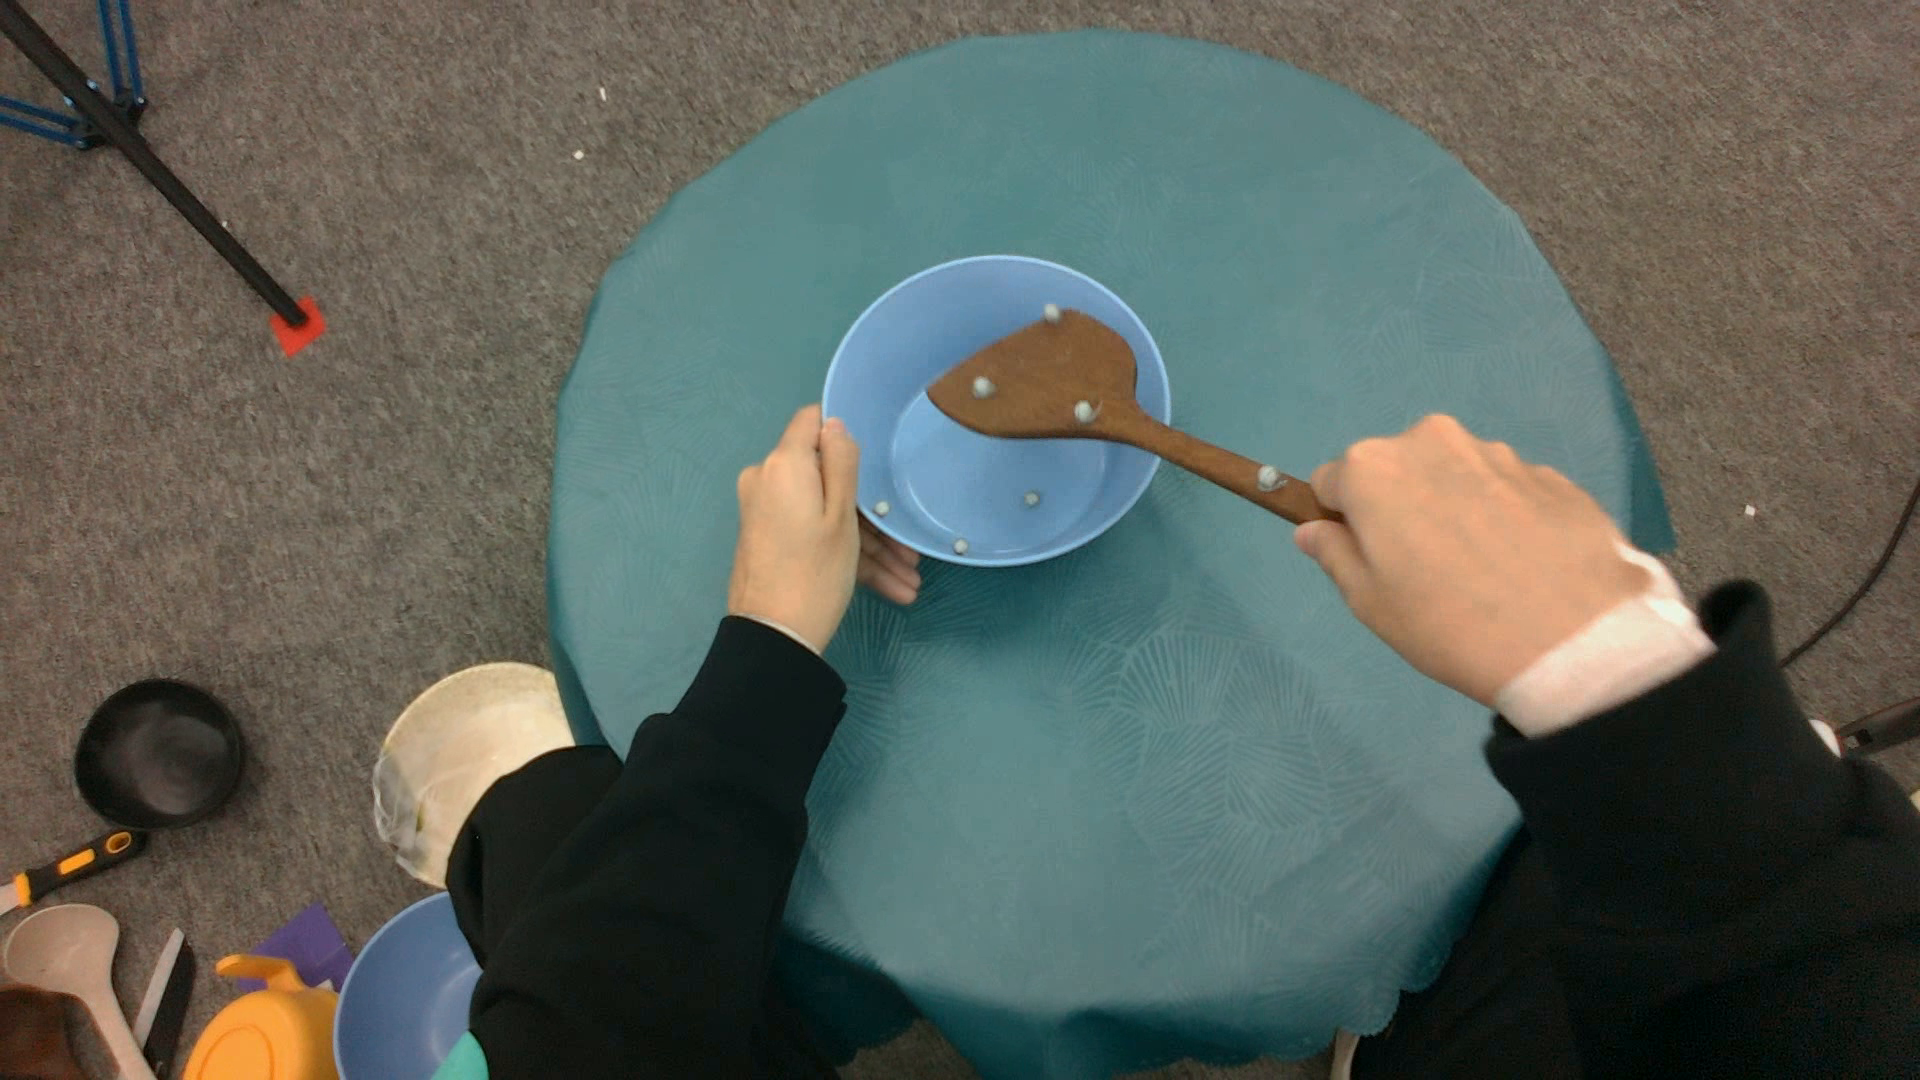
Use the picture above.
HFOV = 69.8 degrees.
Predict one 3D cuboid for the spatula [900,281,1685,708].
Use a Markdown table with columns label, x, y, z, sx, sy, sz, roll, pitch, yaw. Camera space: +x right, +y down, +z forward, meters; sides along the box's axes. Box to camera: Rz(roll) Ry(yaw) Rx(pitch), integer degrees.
| label | x | y | z | sx | sy | sz | roll | pitch | yaw |
| --- | --- | --- | --- | --- | --- | --- | --- | --- | --- |
| spatula | 0.105 | -0.033 | 0.543 | 0.096 | 0.016 | 0.386 | -31 | 38 | -19 |

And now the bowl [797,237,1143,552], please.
| label | x | y | z | sx | sy | sz | roll | pitch | yaw |
| --- | --- | --- | --- | --- | --- | --- | --- | --- | --- |
| bowl | 0.006 | -0.067 | 0.725 | 0.176 | 0.070 | 0.176 | -1 | 70 | 2 |
